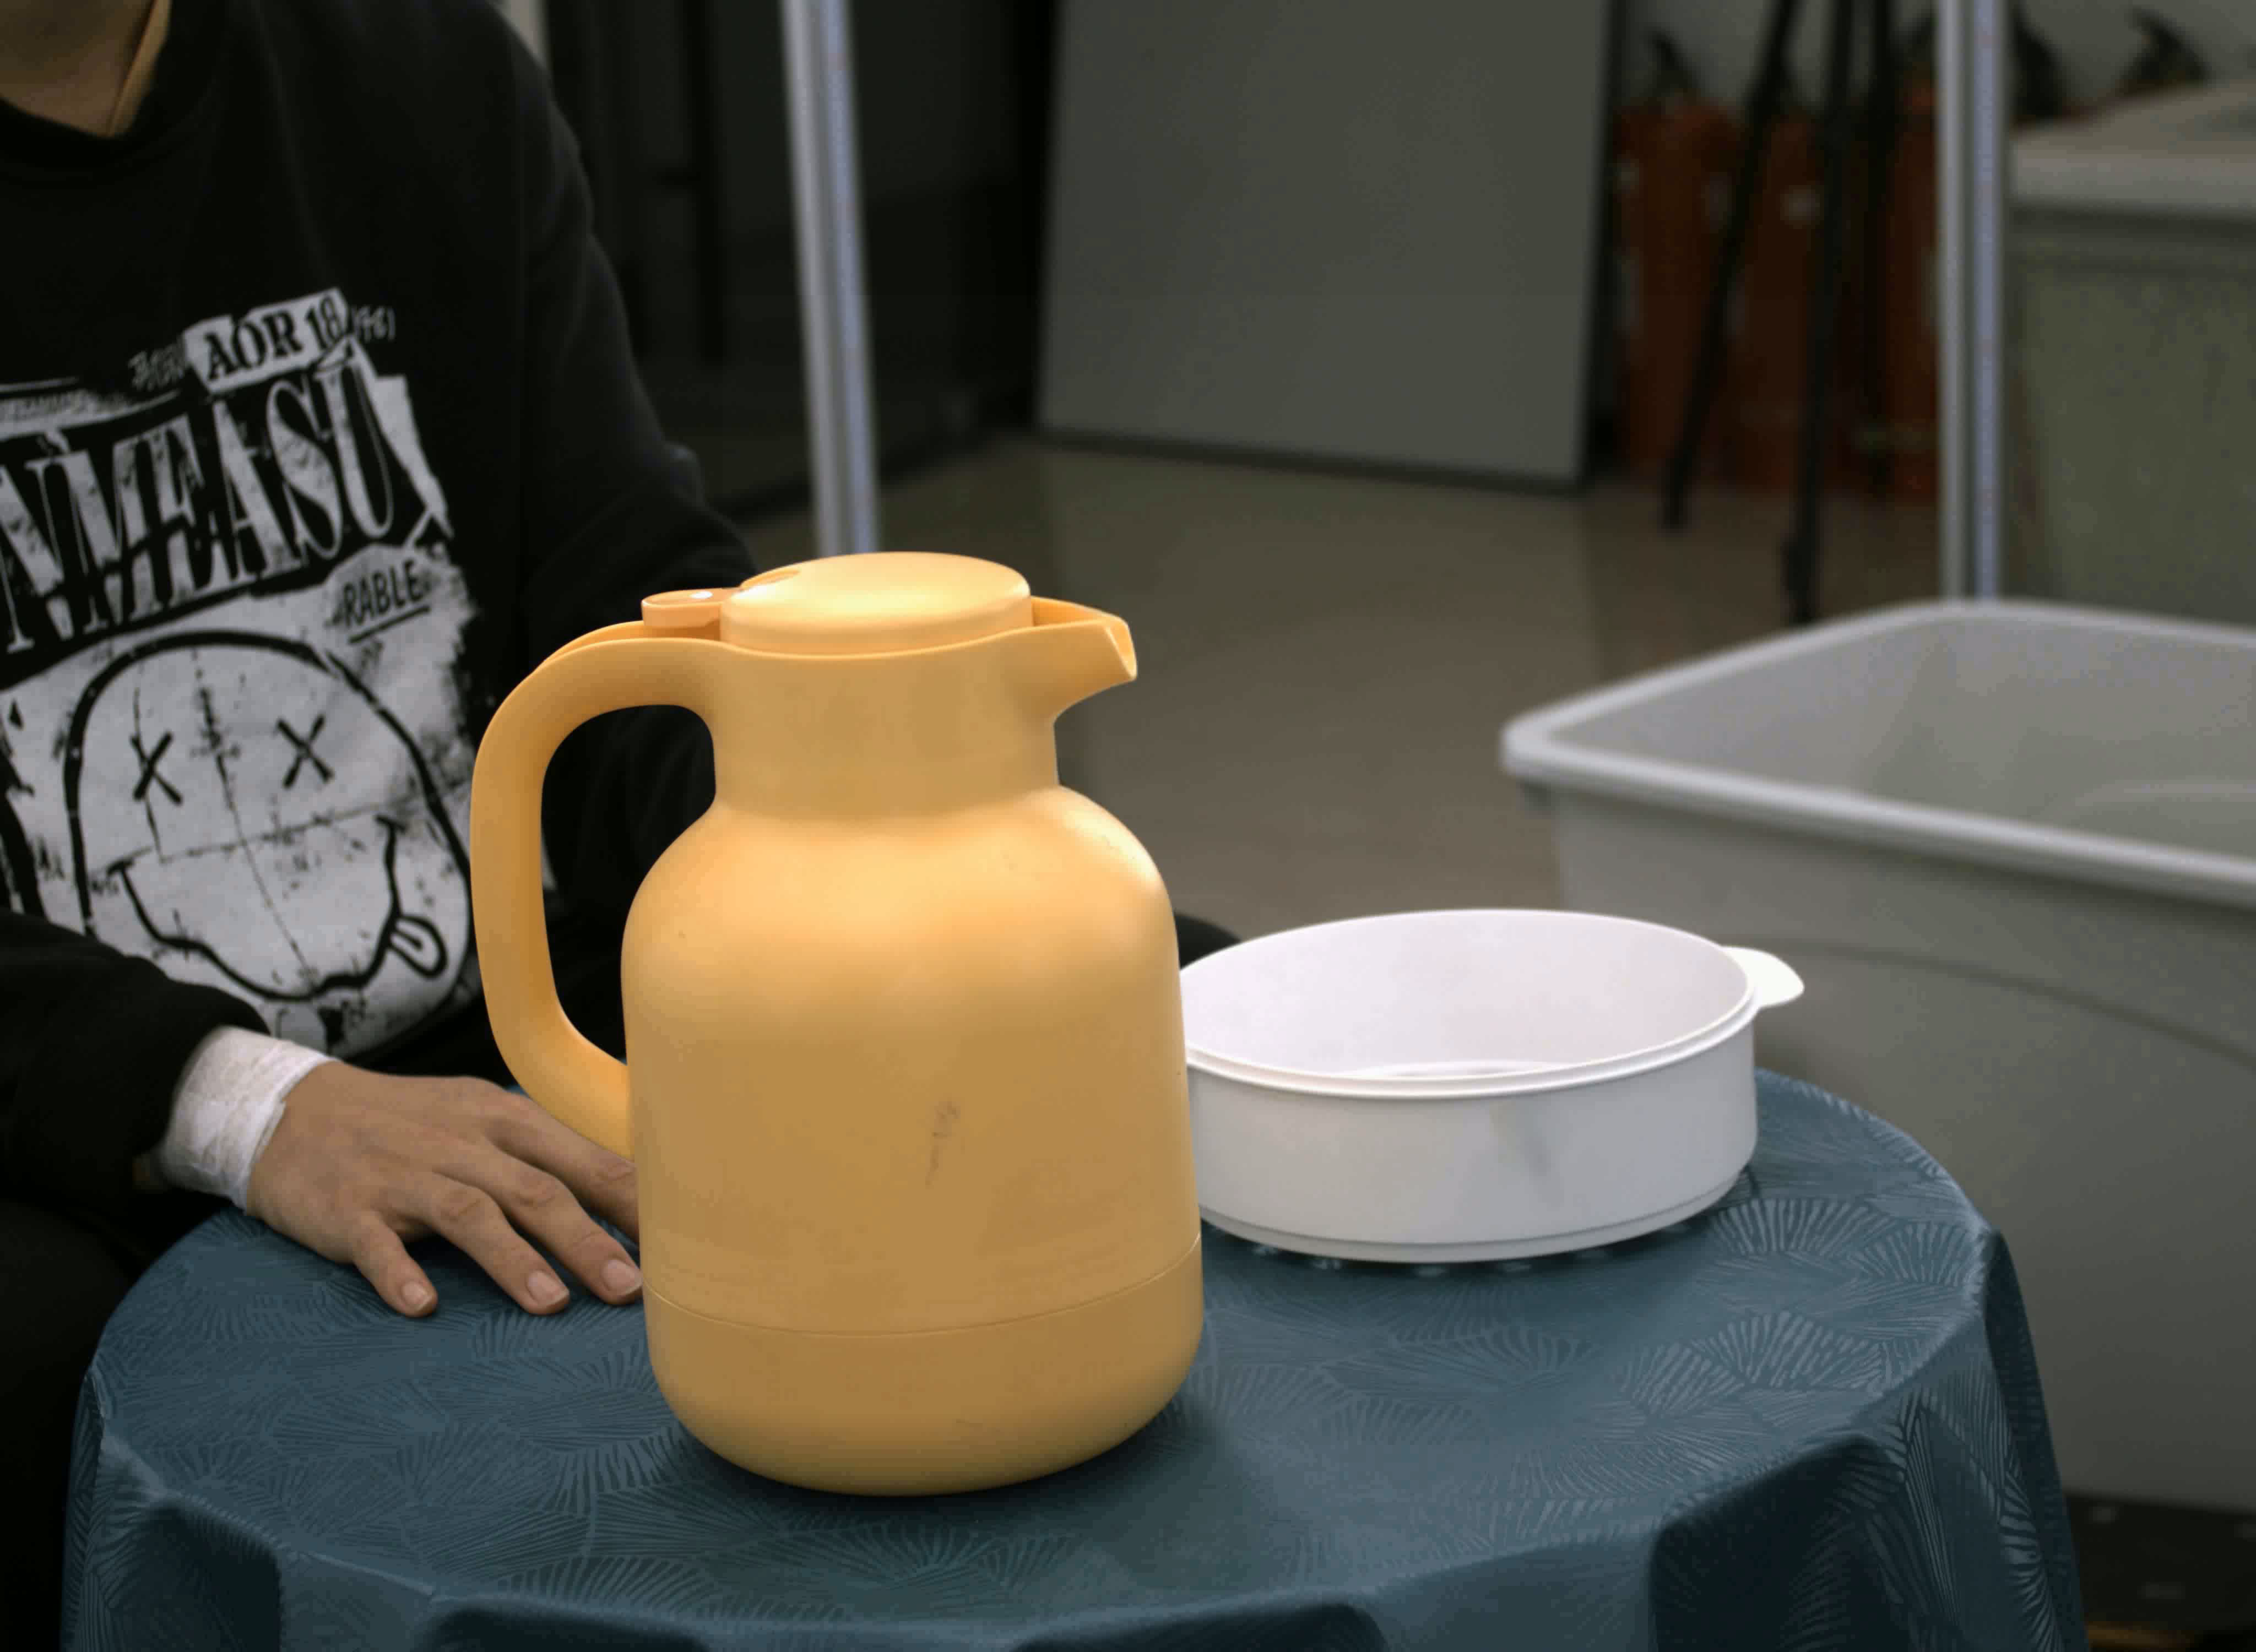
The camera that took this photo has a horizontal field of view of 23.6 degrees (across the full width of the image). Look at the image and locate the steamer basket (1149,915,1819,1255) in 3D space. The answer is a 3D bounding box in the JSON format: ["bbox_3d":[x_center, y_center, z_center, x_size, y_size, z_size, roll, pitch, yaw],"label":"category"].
[{"bbox_3d":[0.111,0.084,1.748,0.227,0.070,0.203,-3,12,-7],"label":"steamer basket"}]

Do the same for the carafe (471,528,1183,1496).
[{"bbox_3d":[-0.085,0.048,1.544,0.201,0.263,0.162,1,12,12],"label":"carafe"}]
